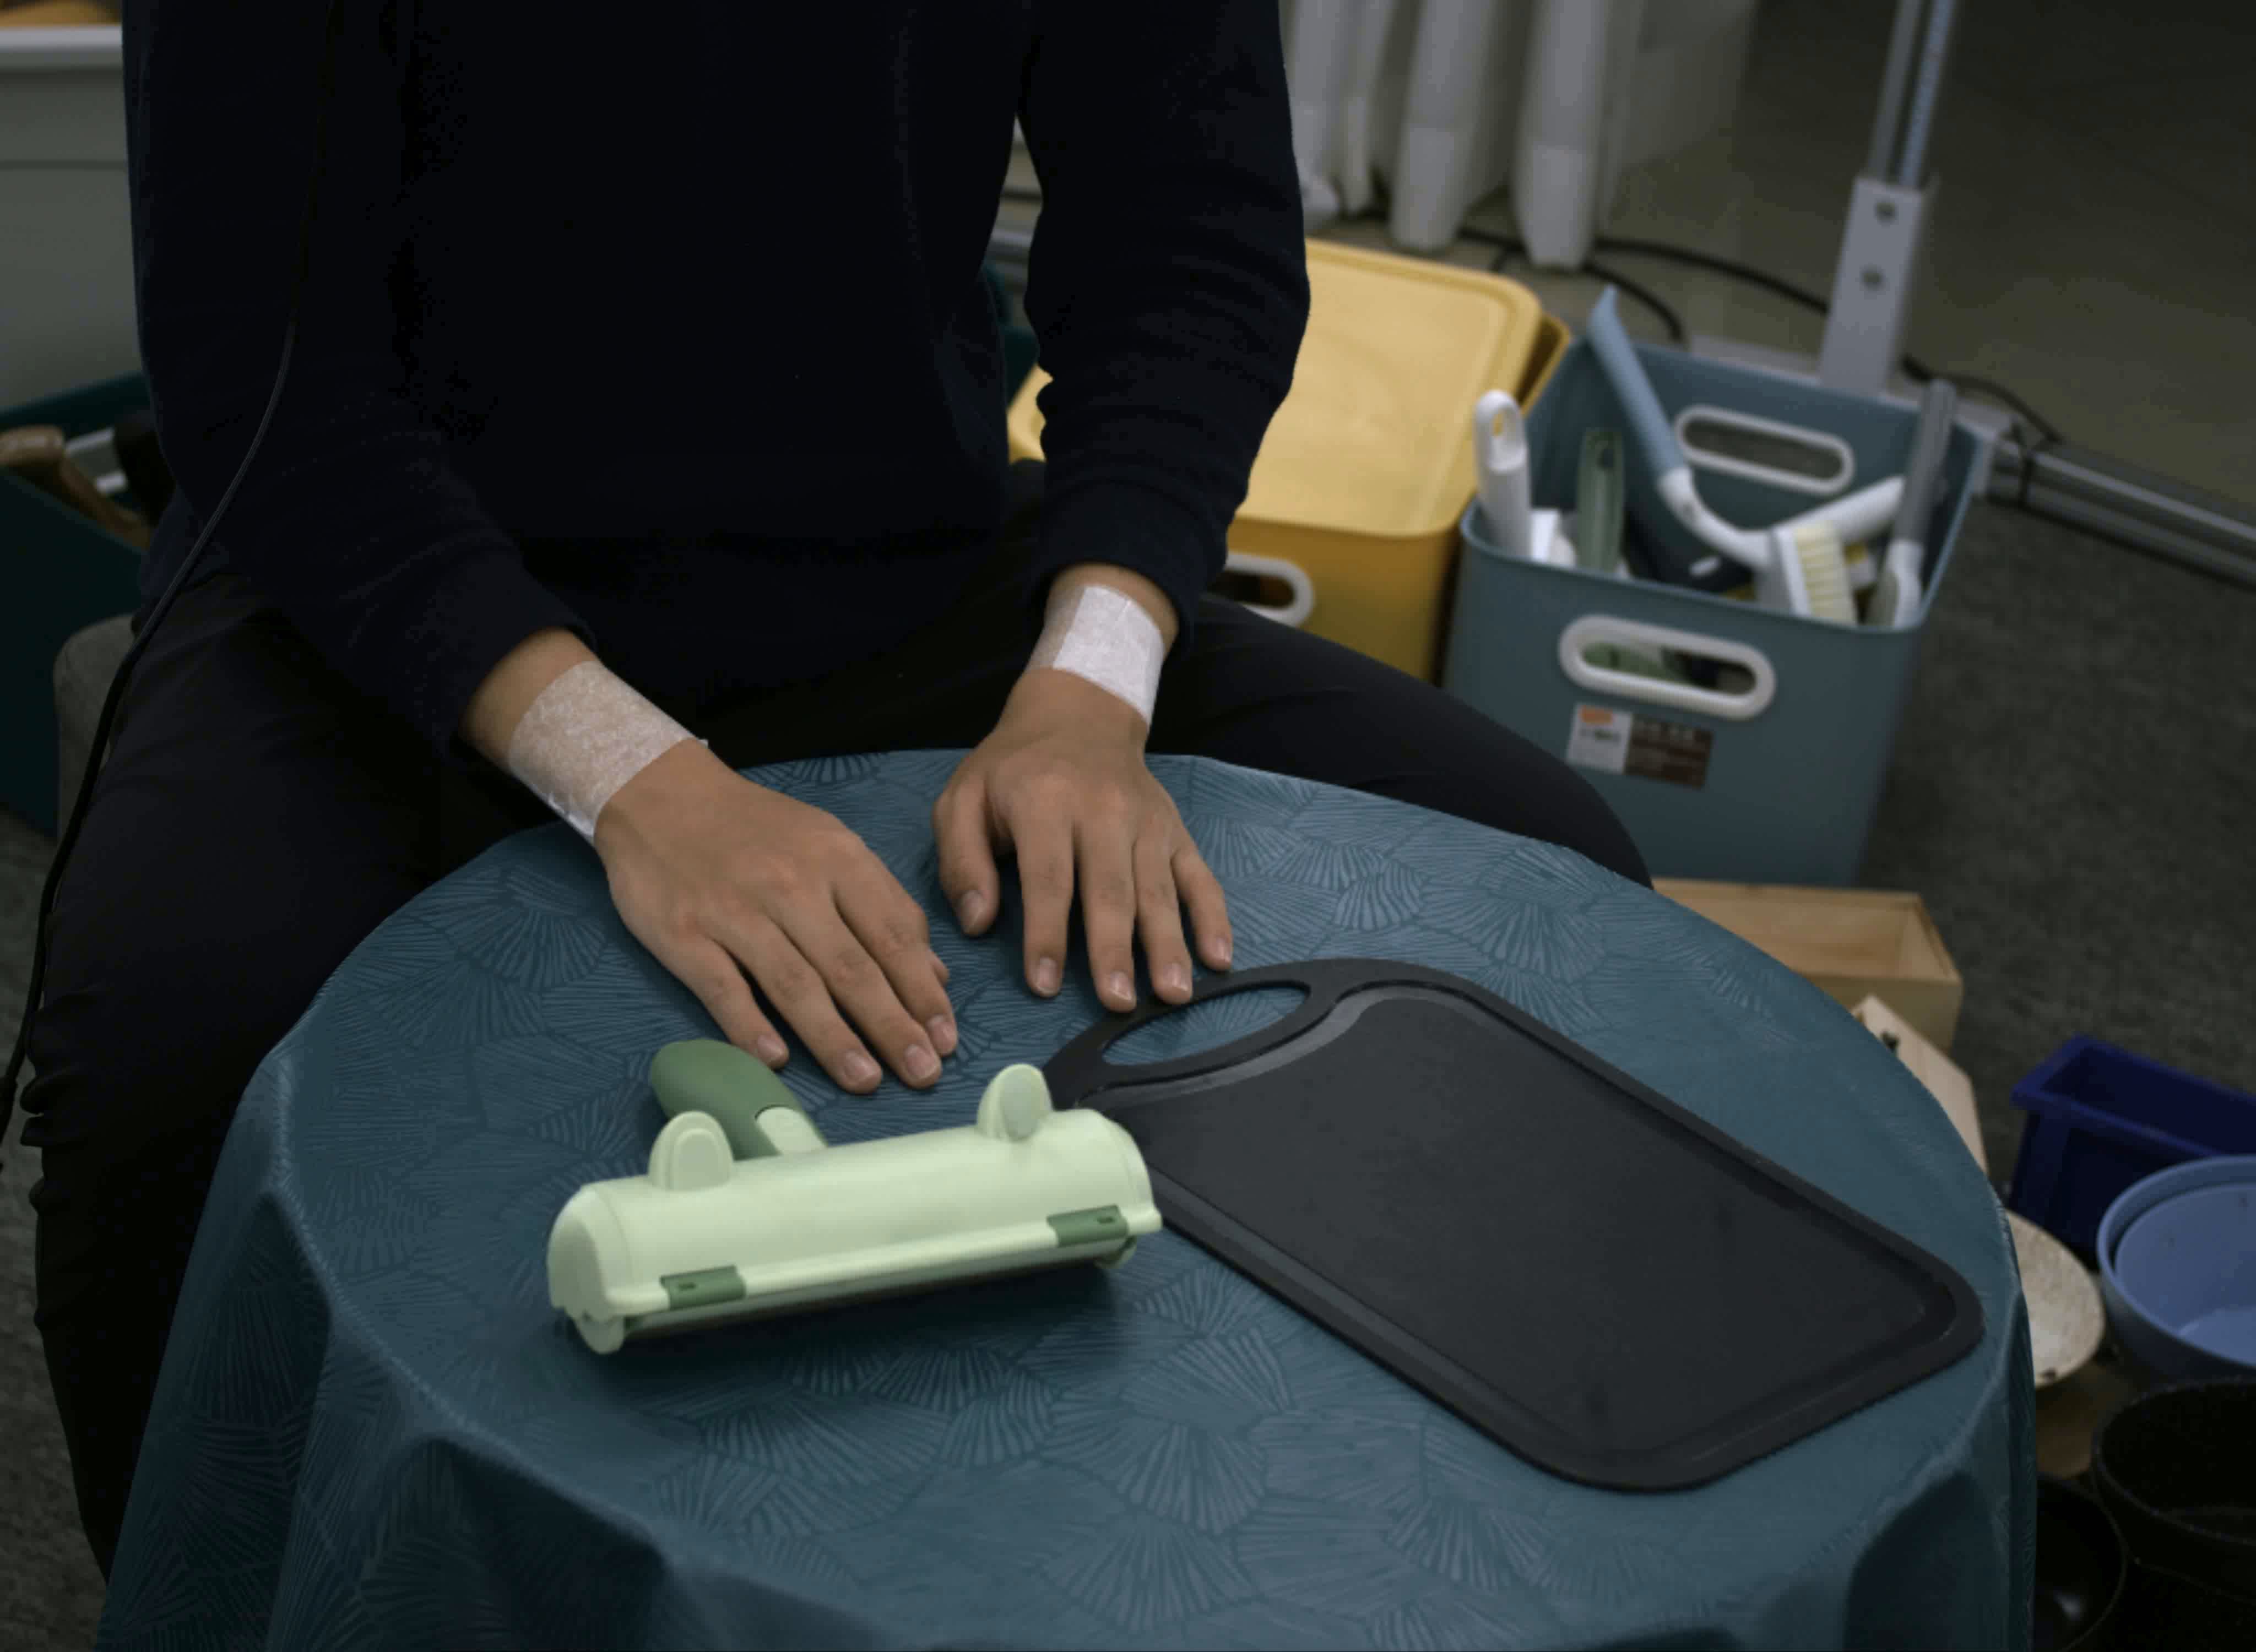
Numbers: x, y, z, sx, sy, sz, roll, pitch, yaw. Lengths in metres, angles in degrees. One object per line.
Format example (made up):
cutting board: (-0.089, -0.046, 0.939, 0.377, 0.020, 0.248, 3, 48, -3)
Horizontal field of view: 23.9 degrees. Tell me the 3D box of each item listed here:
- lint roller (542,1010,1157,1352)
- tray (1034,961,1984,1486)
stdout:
lint roller: (-0.112, 0.092, 1.745, 0.197, 0.082, 0.185, -7, 36, -27)
tray: (0.120, 0.125, 1.819, 0.210, 0.010, 0.328, -18, 36, -39)
